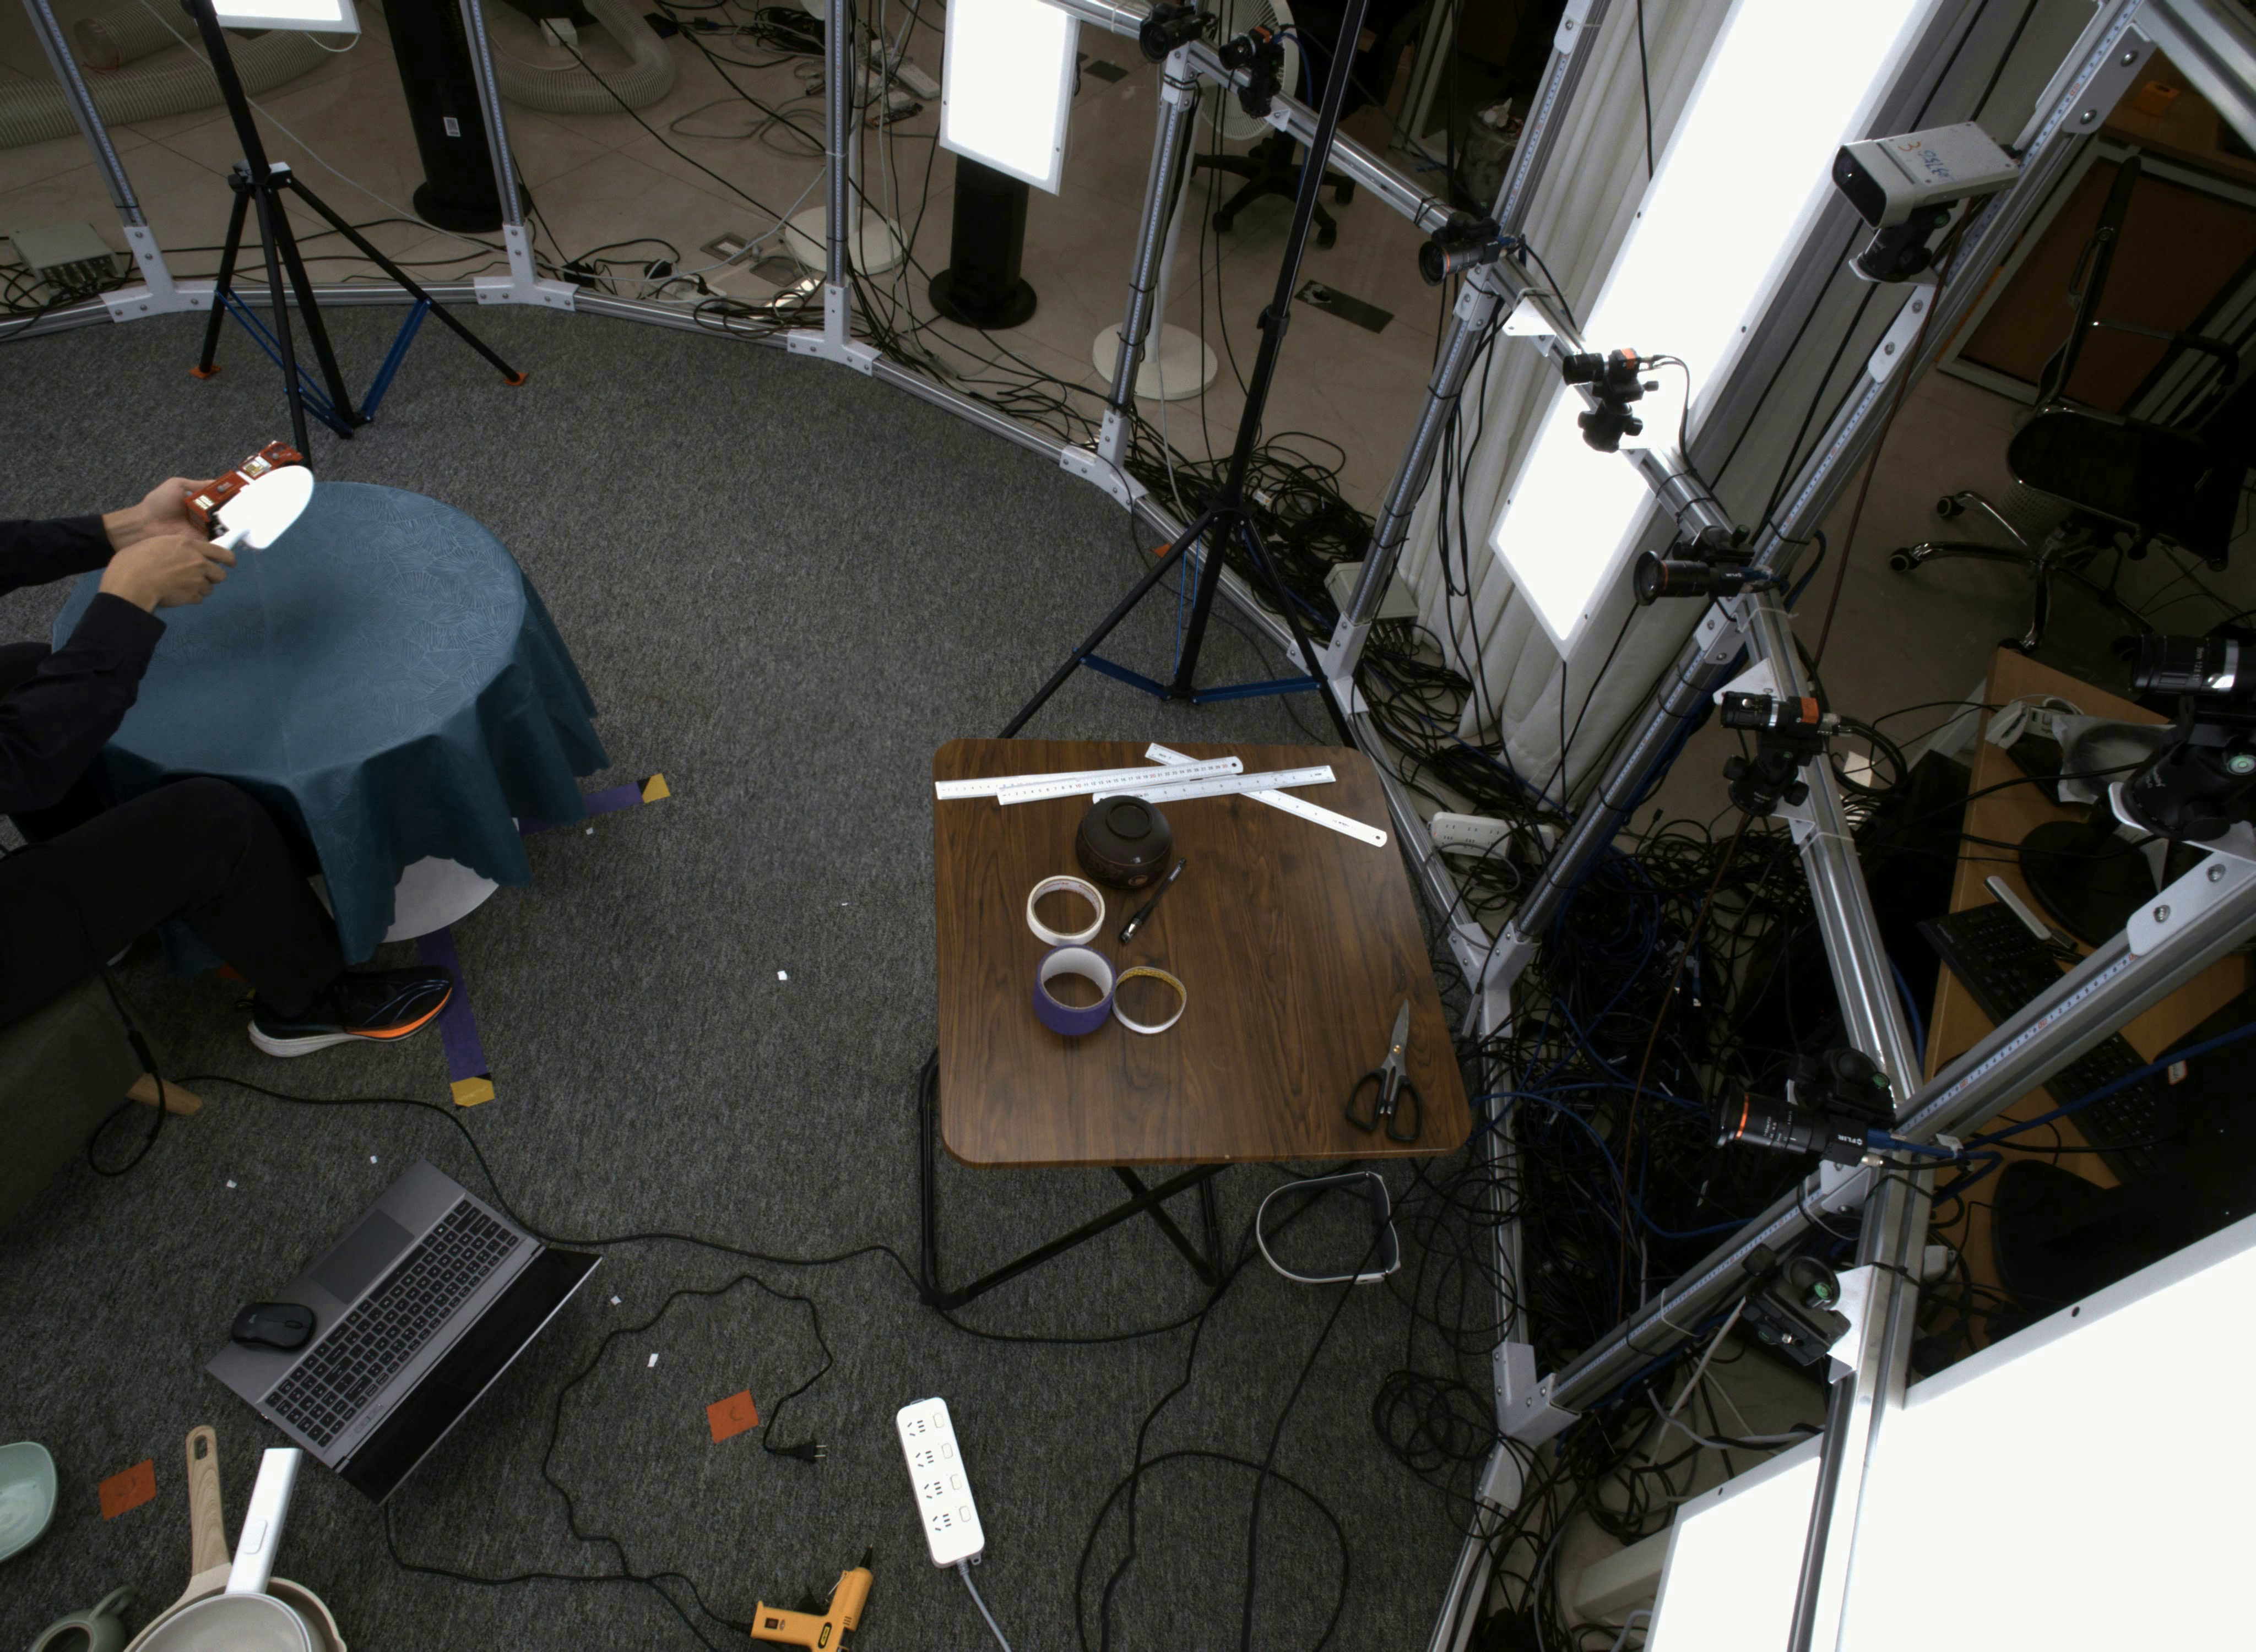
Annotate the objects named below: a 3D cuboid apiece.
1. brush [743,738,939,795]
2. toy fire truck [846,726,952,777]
[{"bbox_3d":[-0.428,-0.080,1.920,0.329,0.087,0.080,-15,38,-41],"label":"brush"},{"bbox_3d":[-0.361,-0.115,2.039,0.170,0.055,0.068,-11,52,-33],"label":"toy fire truck"}]
